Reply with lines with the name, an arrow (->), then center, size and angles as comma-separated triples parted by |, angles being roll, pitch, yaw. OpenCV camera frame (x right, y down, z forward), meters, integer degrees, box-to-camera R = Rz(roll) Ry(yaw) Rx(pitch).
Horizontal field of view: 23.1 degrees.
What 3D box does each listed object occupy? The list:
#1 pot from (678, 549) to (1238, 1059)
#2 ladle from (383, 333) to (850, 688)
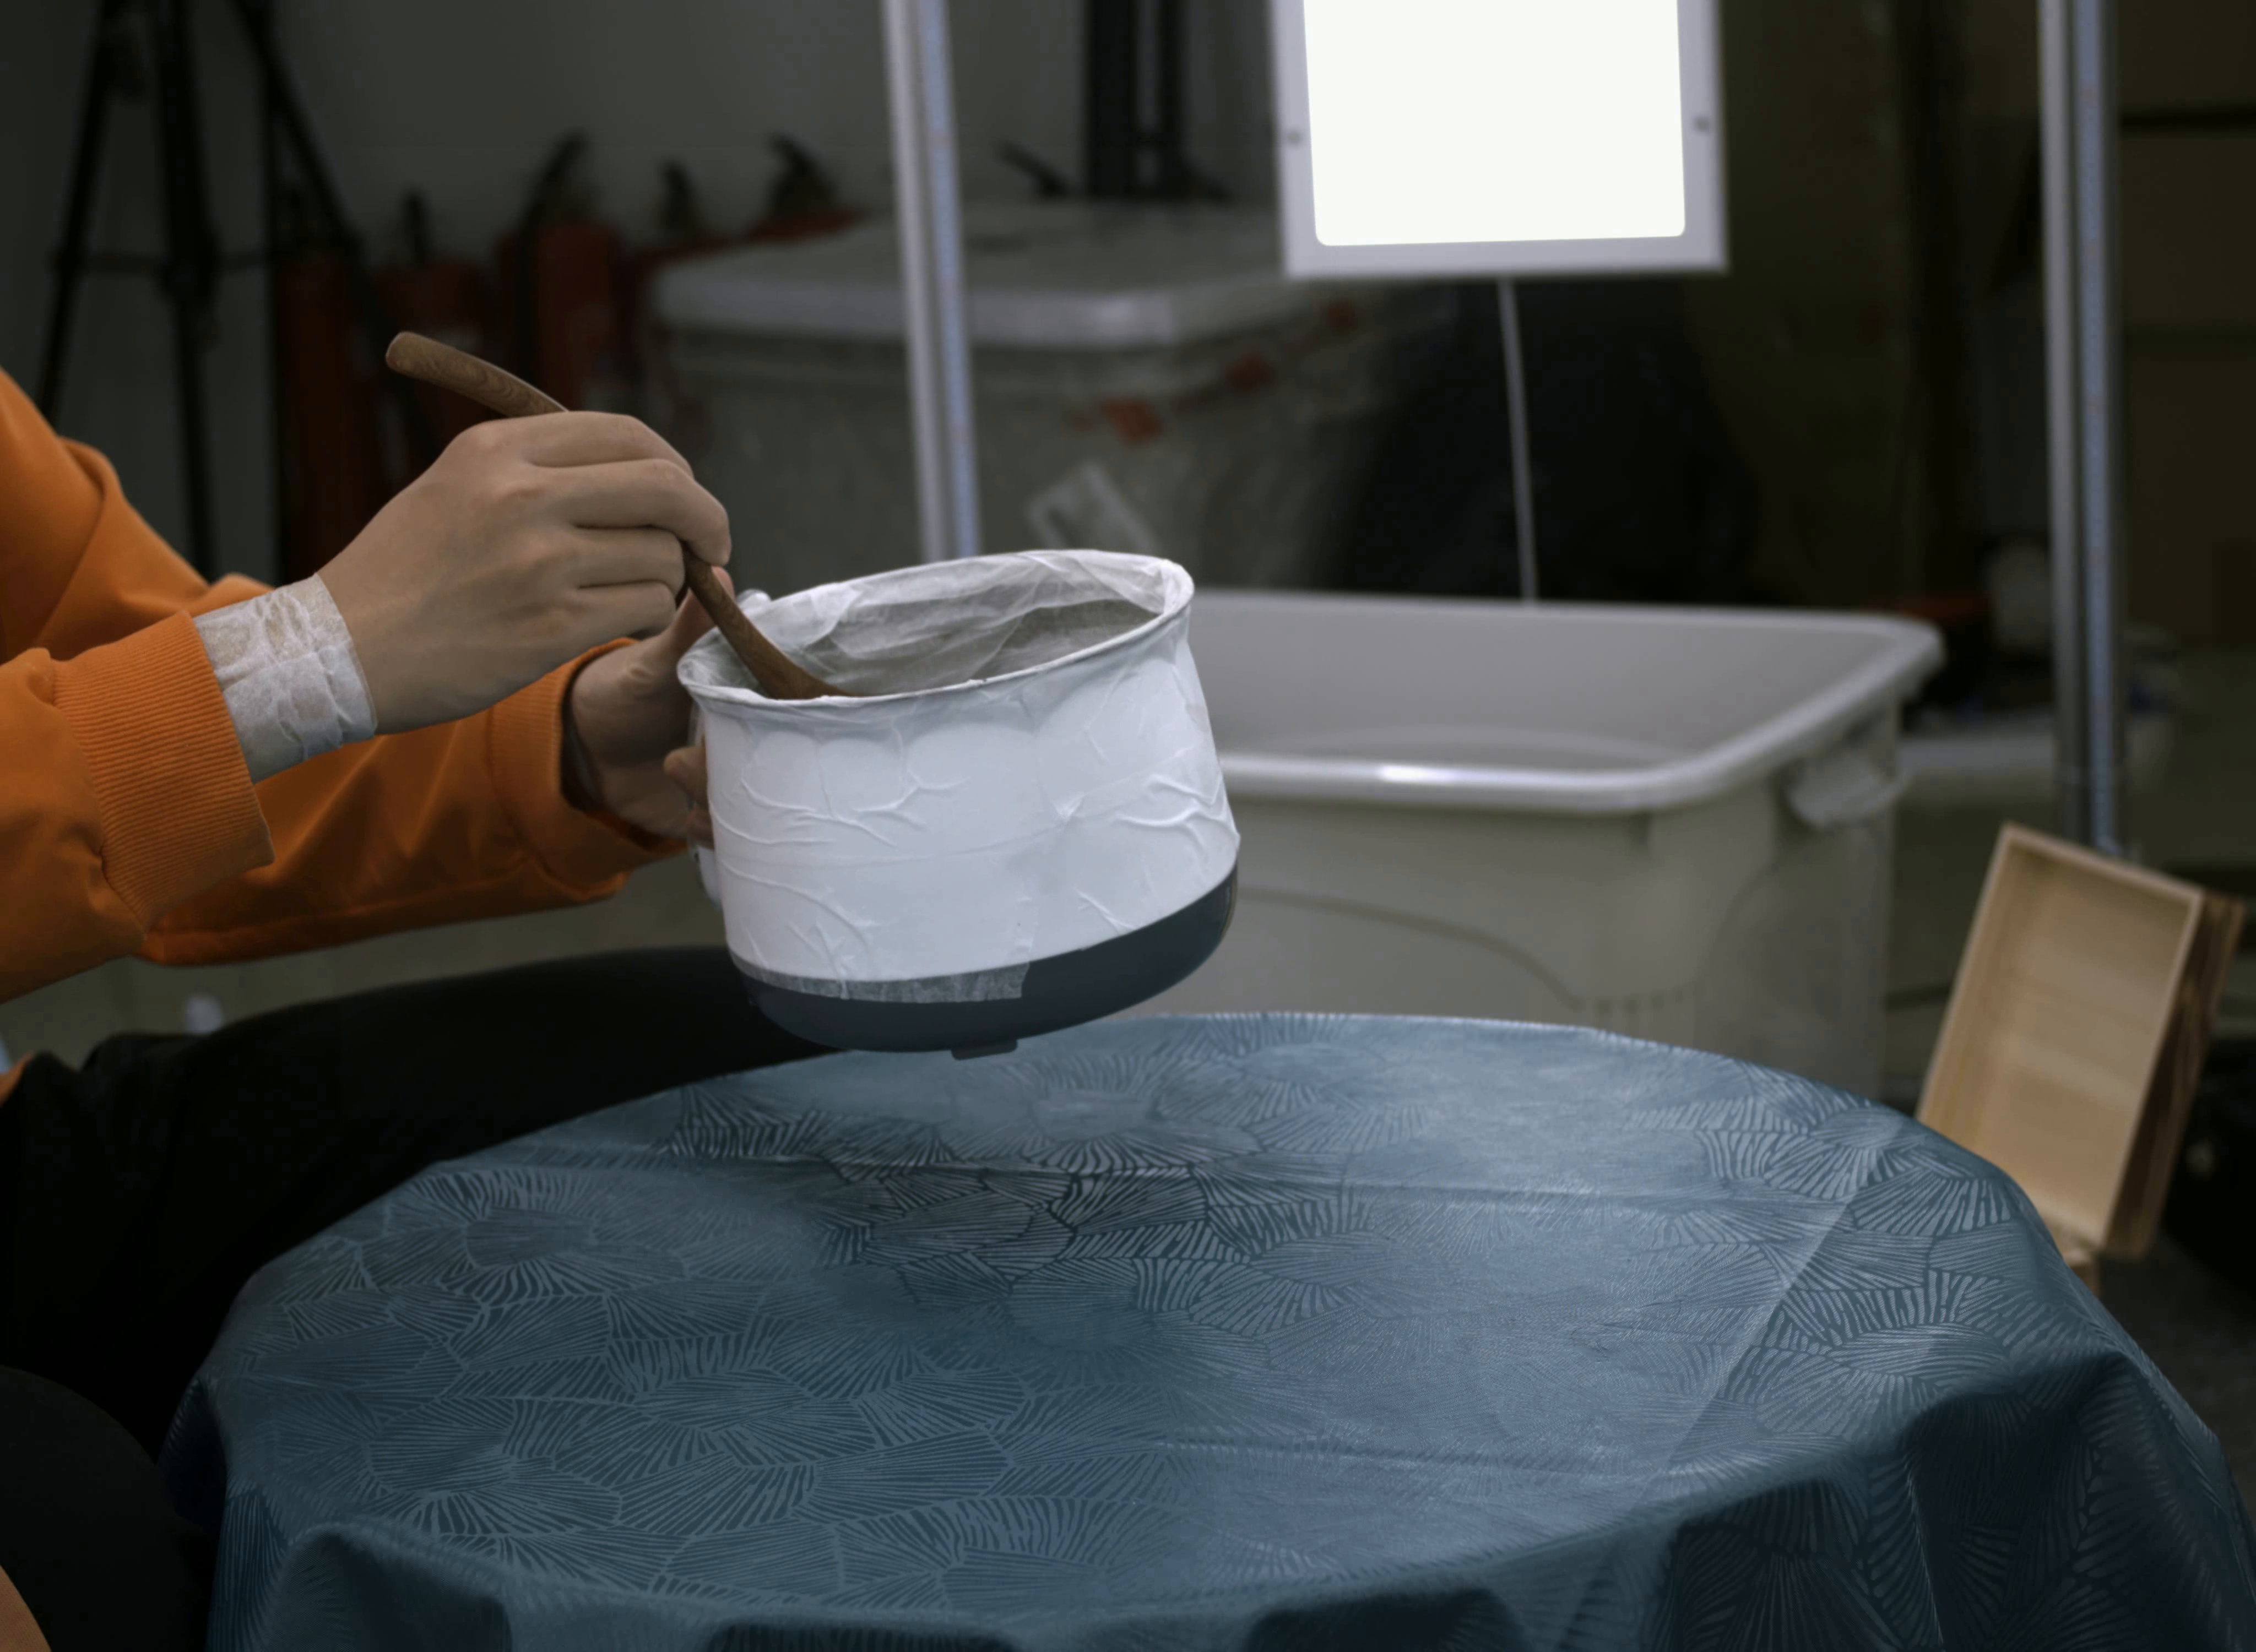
pot -> -0.074, -0.011, 1.888 | 0.174, 0.137, 0.239 | -23, 21, -39
ladle -> -0.138, -0.099, 1.876 | 0.065, 0.258, 0.077 | -50, 13, -8
